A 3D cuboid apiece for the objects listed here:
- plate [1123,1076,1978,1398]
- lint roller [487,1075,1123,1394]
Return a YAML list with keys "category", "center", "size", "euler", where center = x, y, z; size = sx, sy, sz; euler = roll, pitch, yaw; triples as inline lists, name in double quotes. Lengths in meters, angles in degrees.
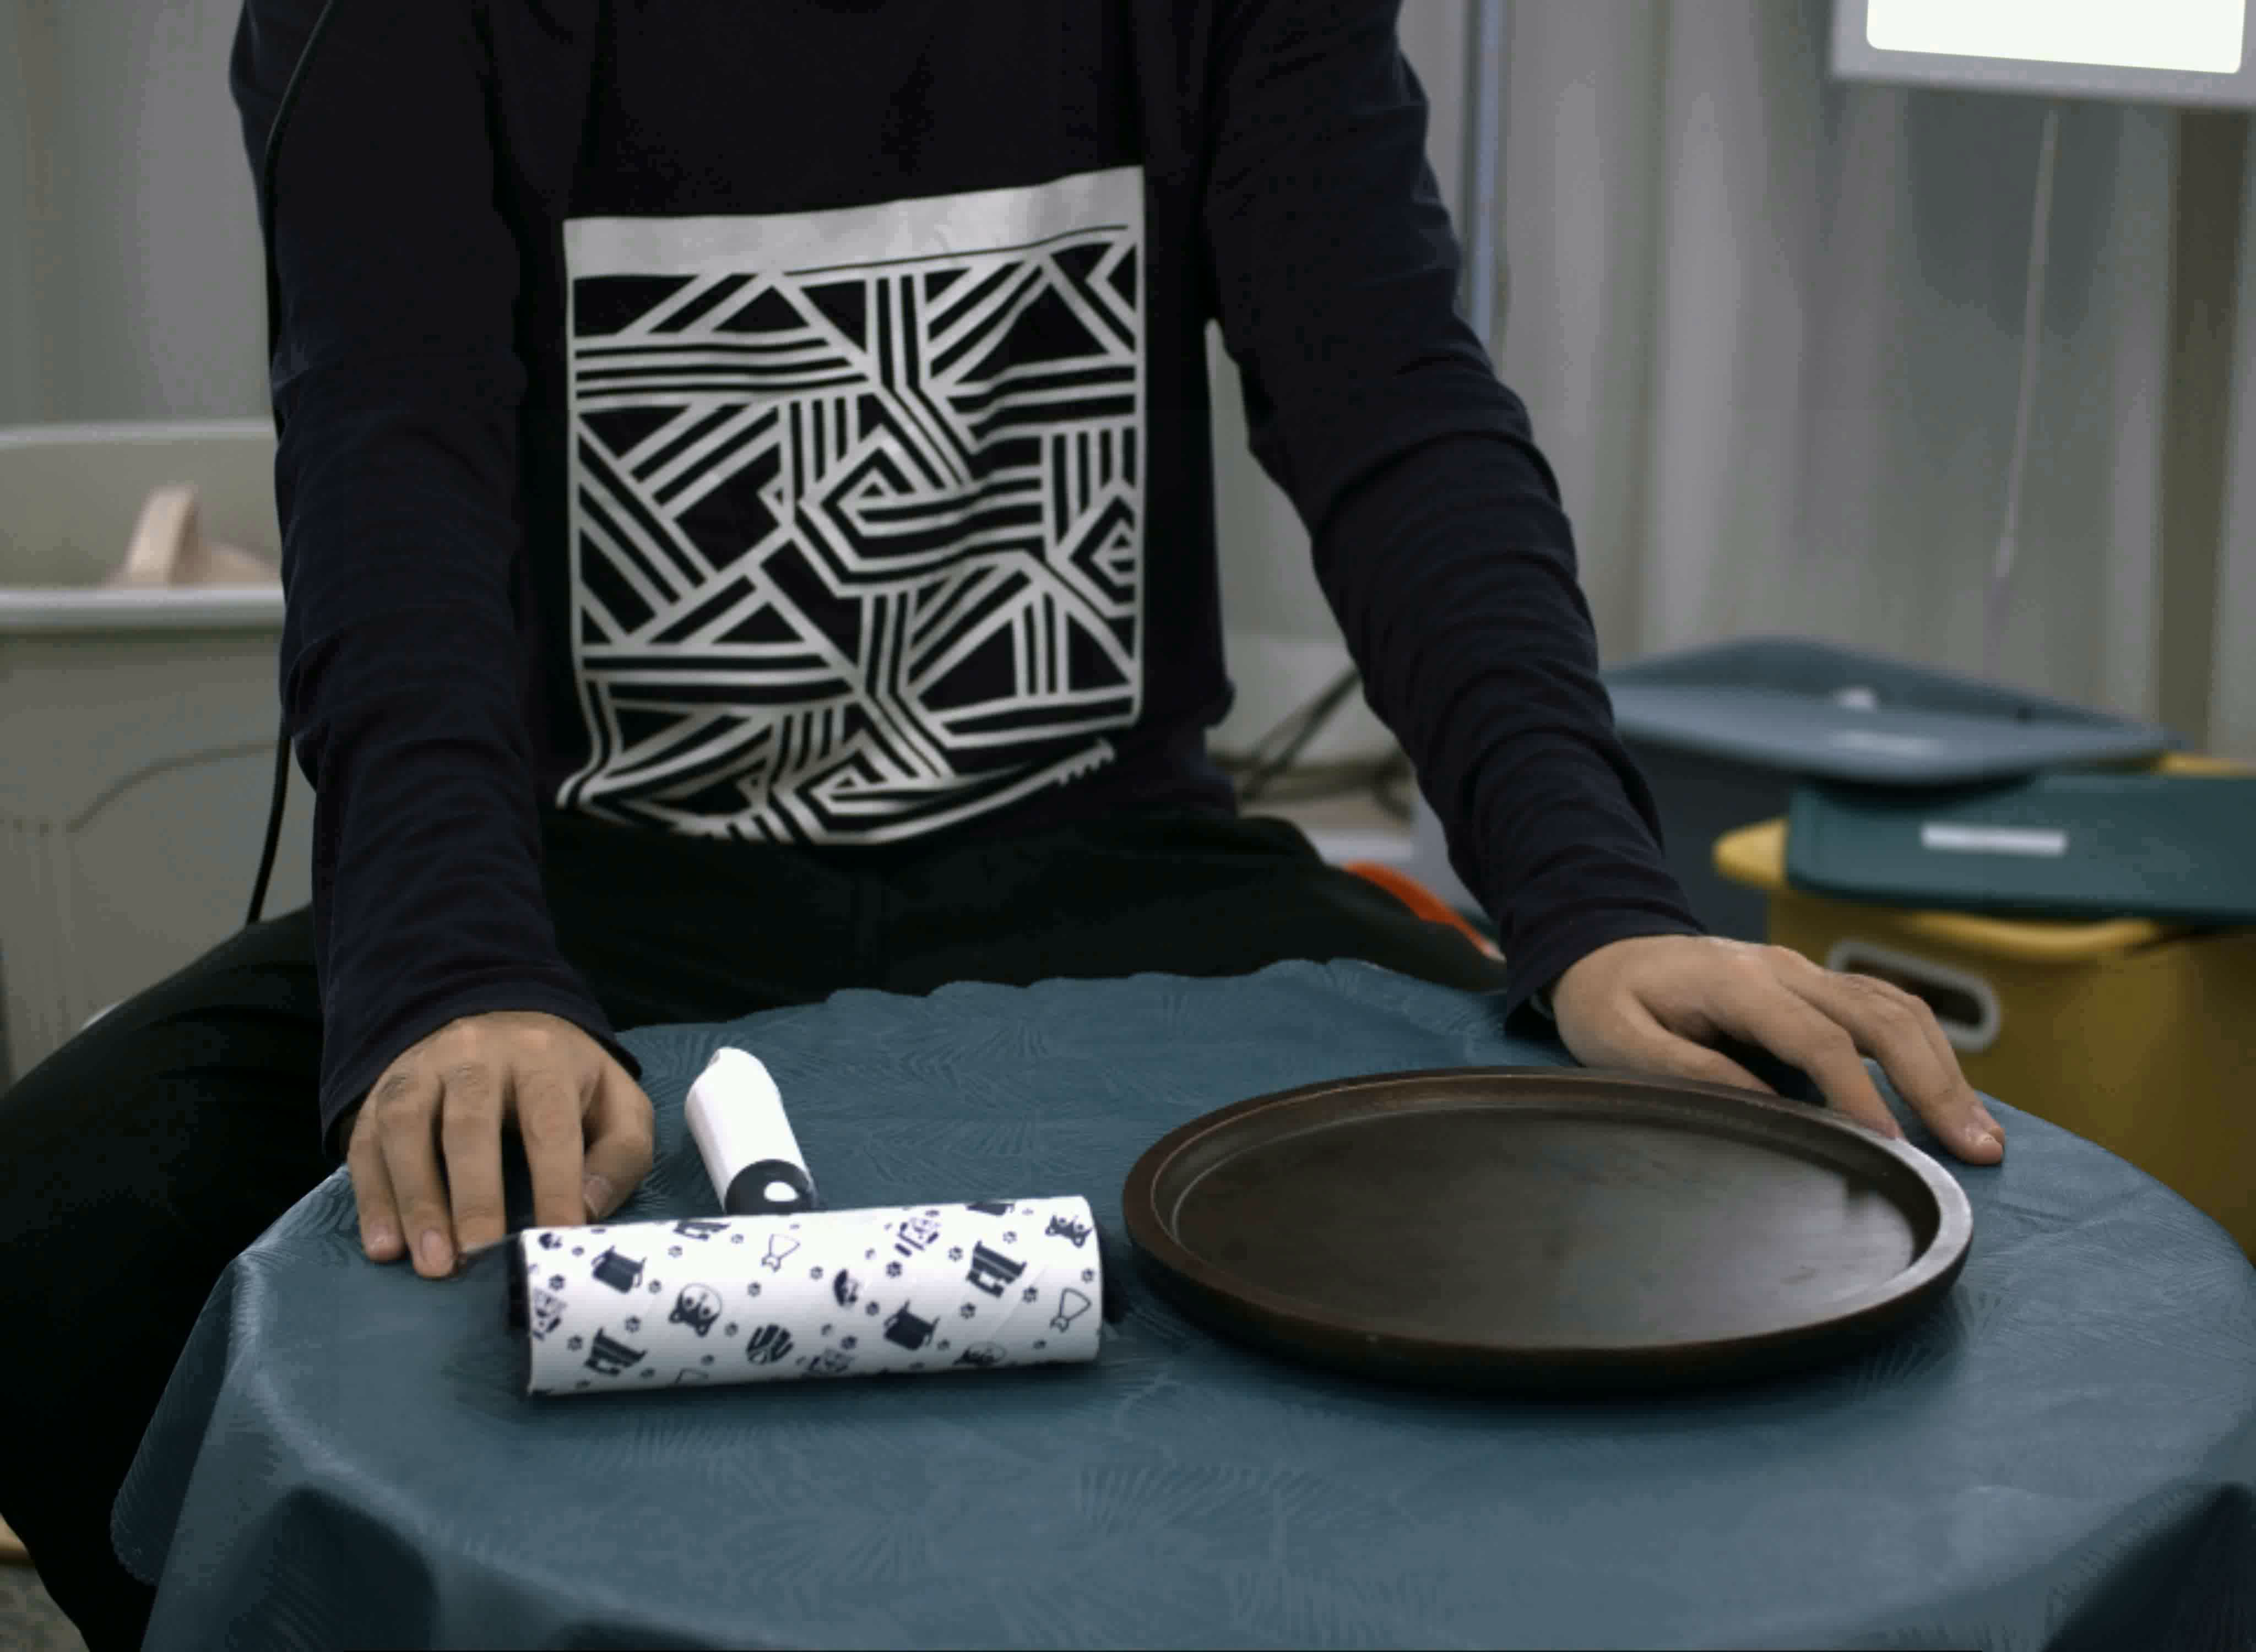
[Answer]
- category: "plate"
  center: [0.125, 0.119, 1.564]
  size: [0.254, 0.029, 0.253]
  euler: [0, 13, 0]
- category: "lint roller"
  center: [-0.109, 0.107, 1.562]
  size: [0.176, 0.051, 0.245]
  euler: [-4, 14, -11]
